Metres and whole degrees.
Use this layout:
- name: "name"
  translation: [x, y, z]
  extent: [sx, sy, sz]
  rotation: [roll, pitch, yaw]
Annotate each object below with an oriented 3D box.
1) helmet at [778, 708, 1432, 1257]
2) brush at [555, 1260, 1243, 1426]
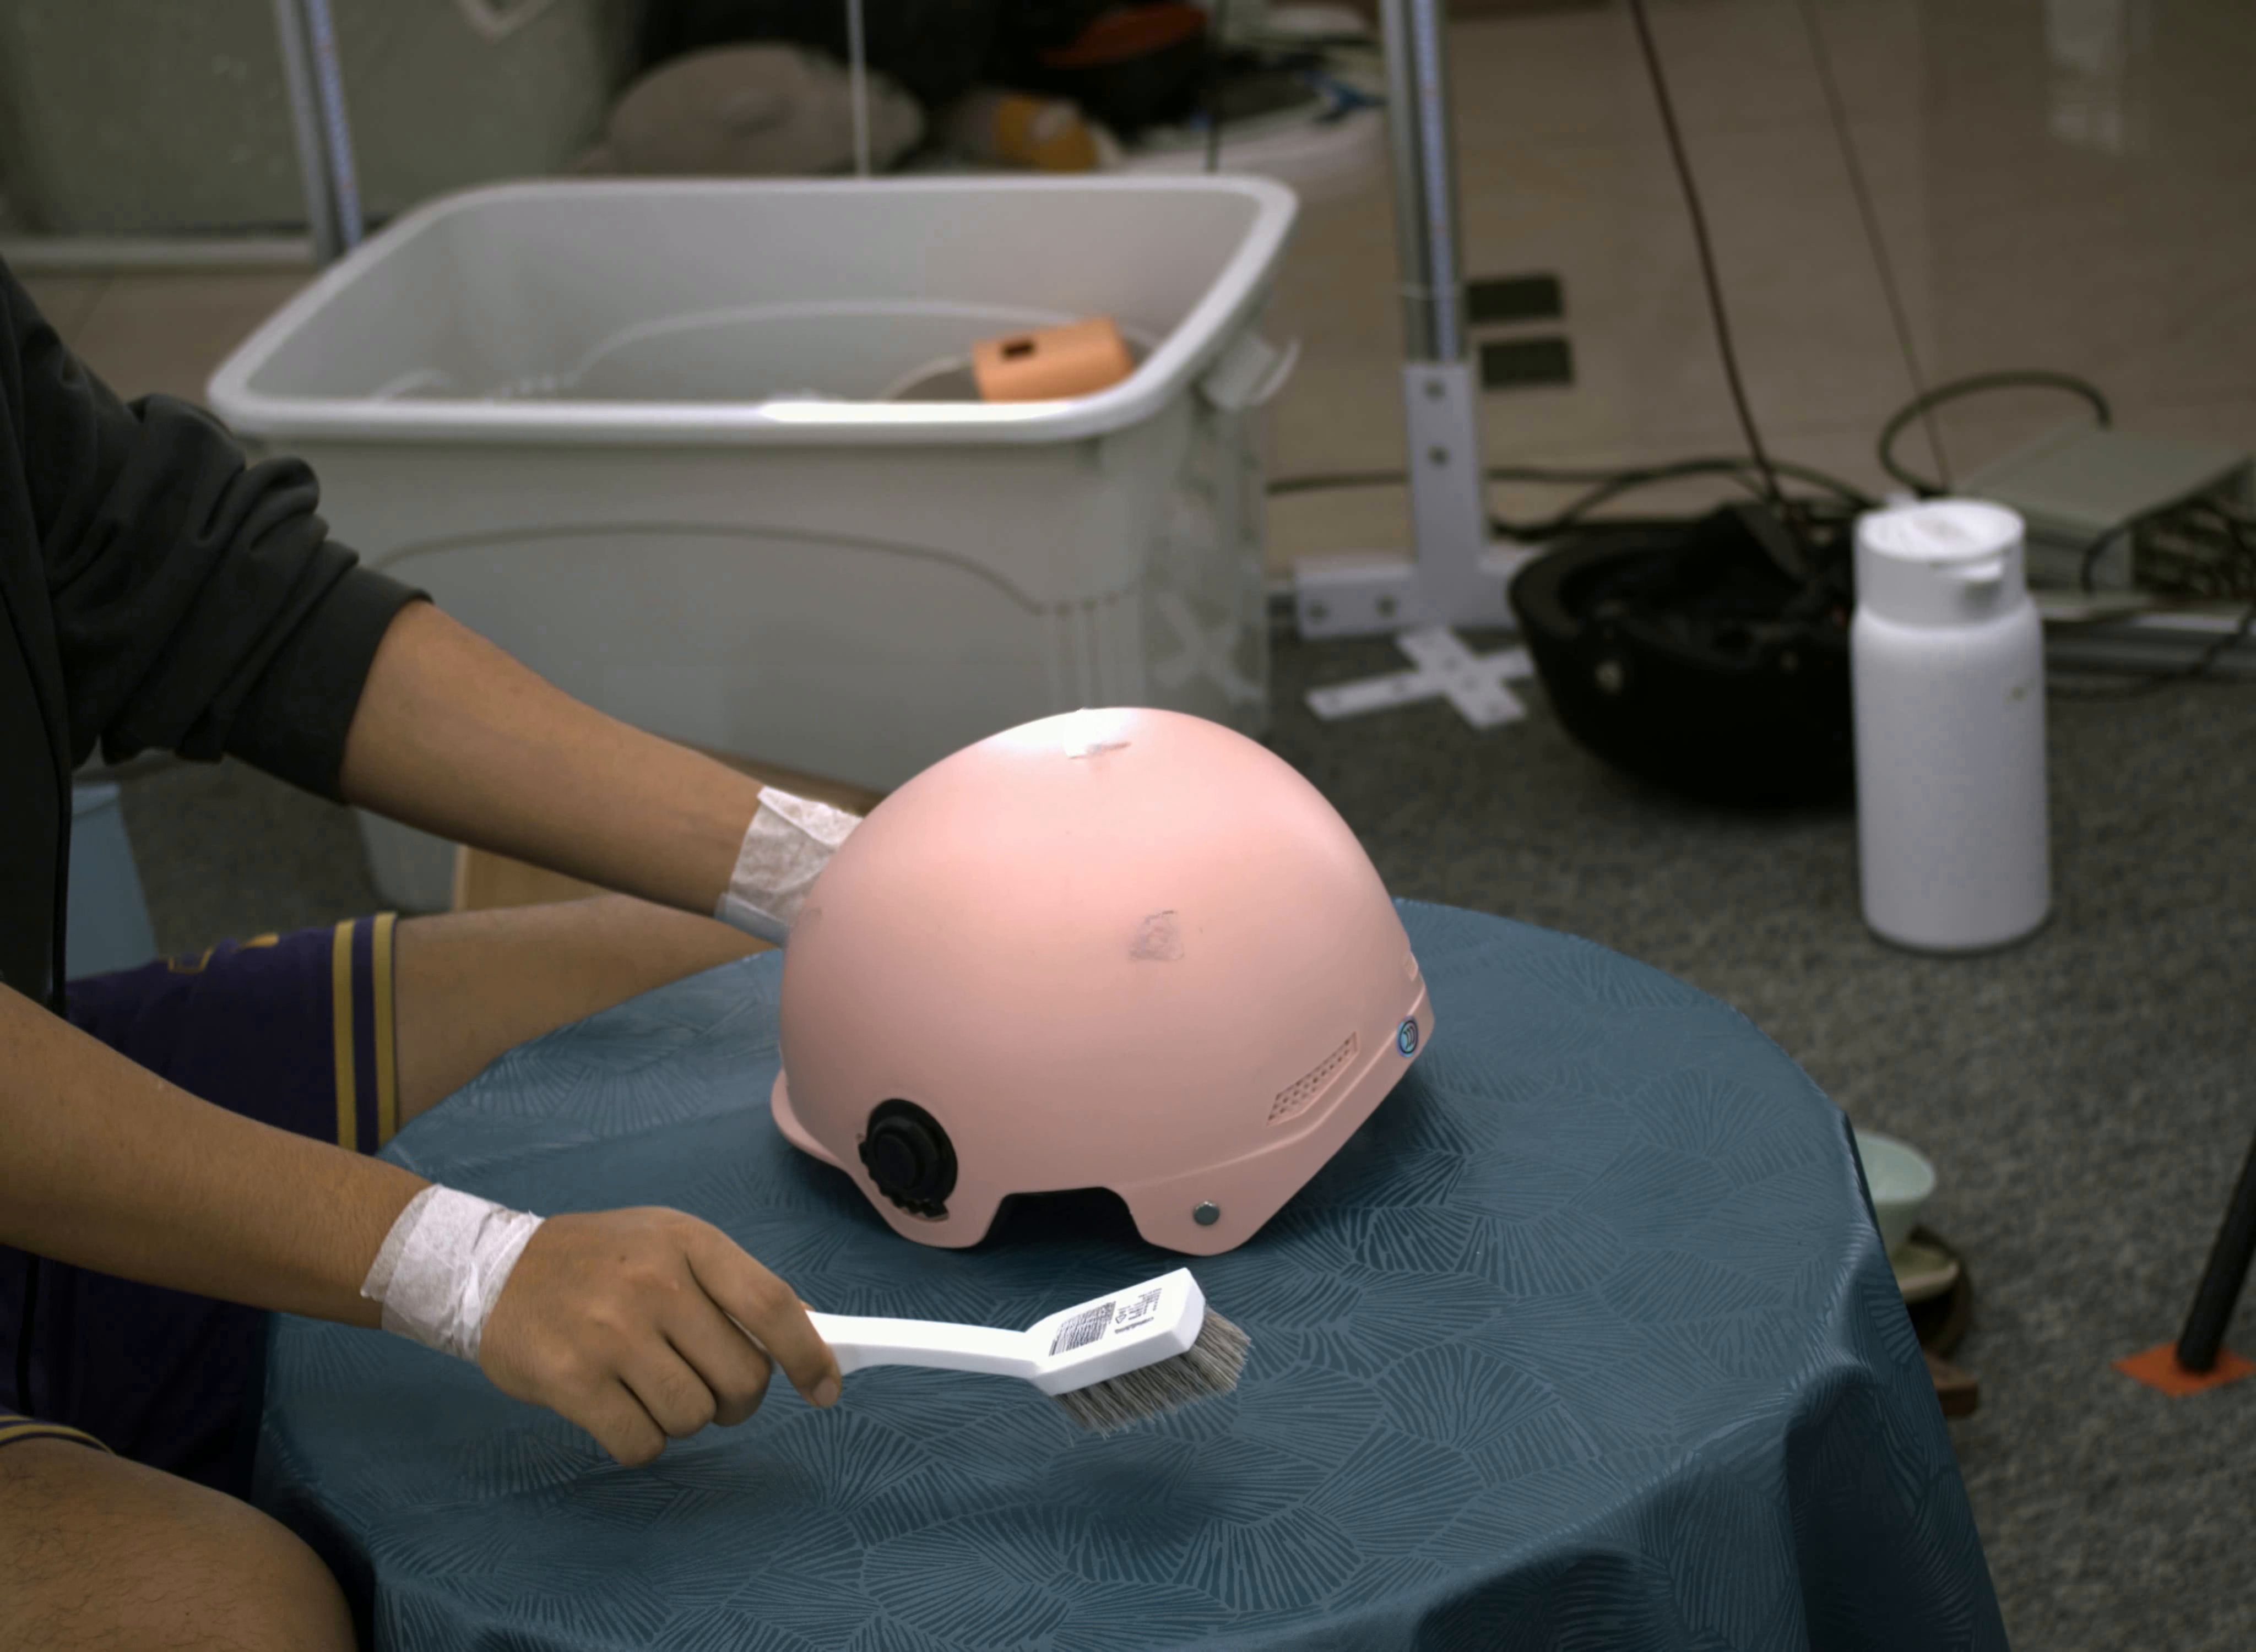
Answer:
- name: "helmet"
  translation: [-0.022, 0.042, 2.163]
  extent: [0.265, 0.161, 0.230]
  rotation: [2, 32, 27]
- name: "brush"
  translation: [-0.080, 0.187, 1.961]
  extent: [0.243, 0.051, 0.034]
  rotation: [-7, 36, 16]
